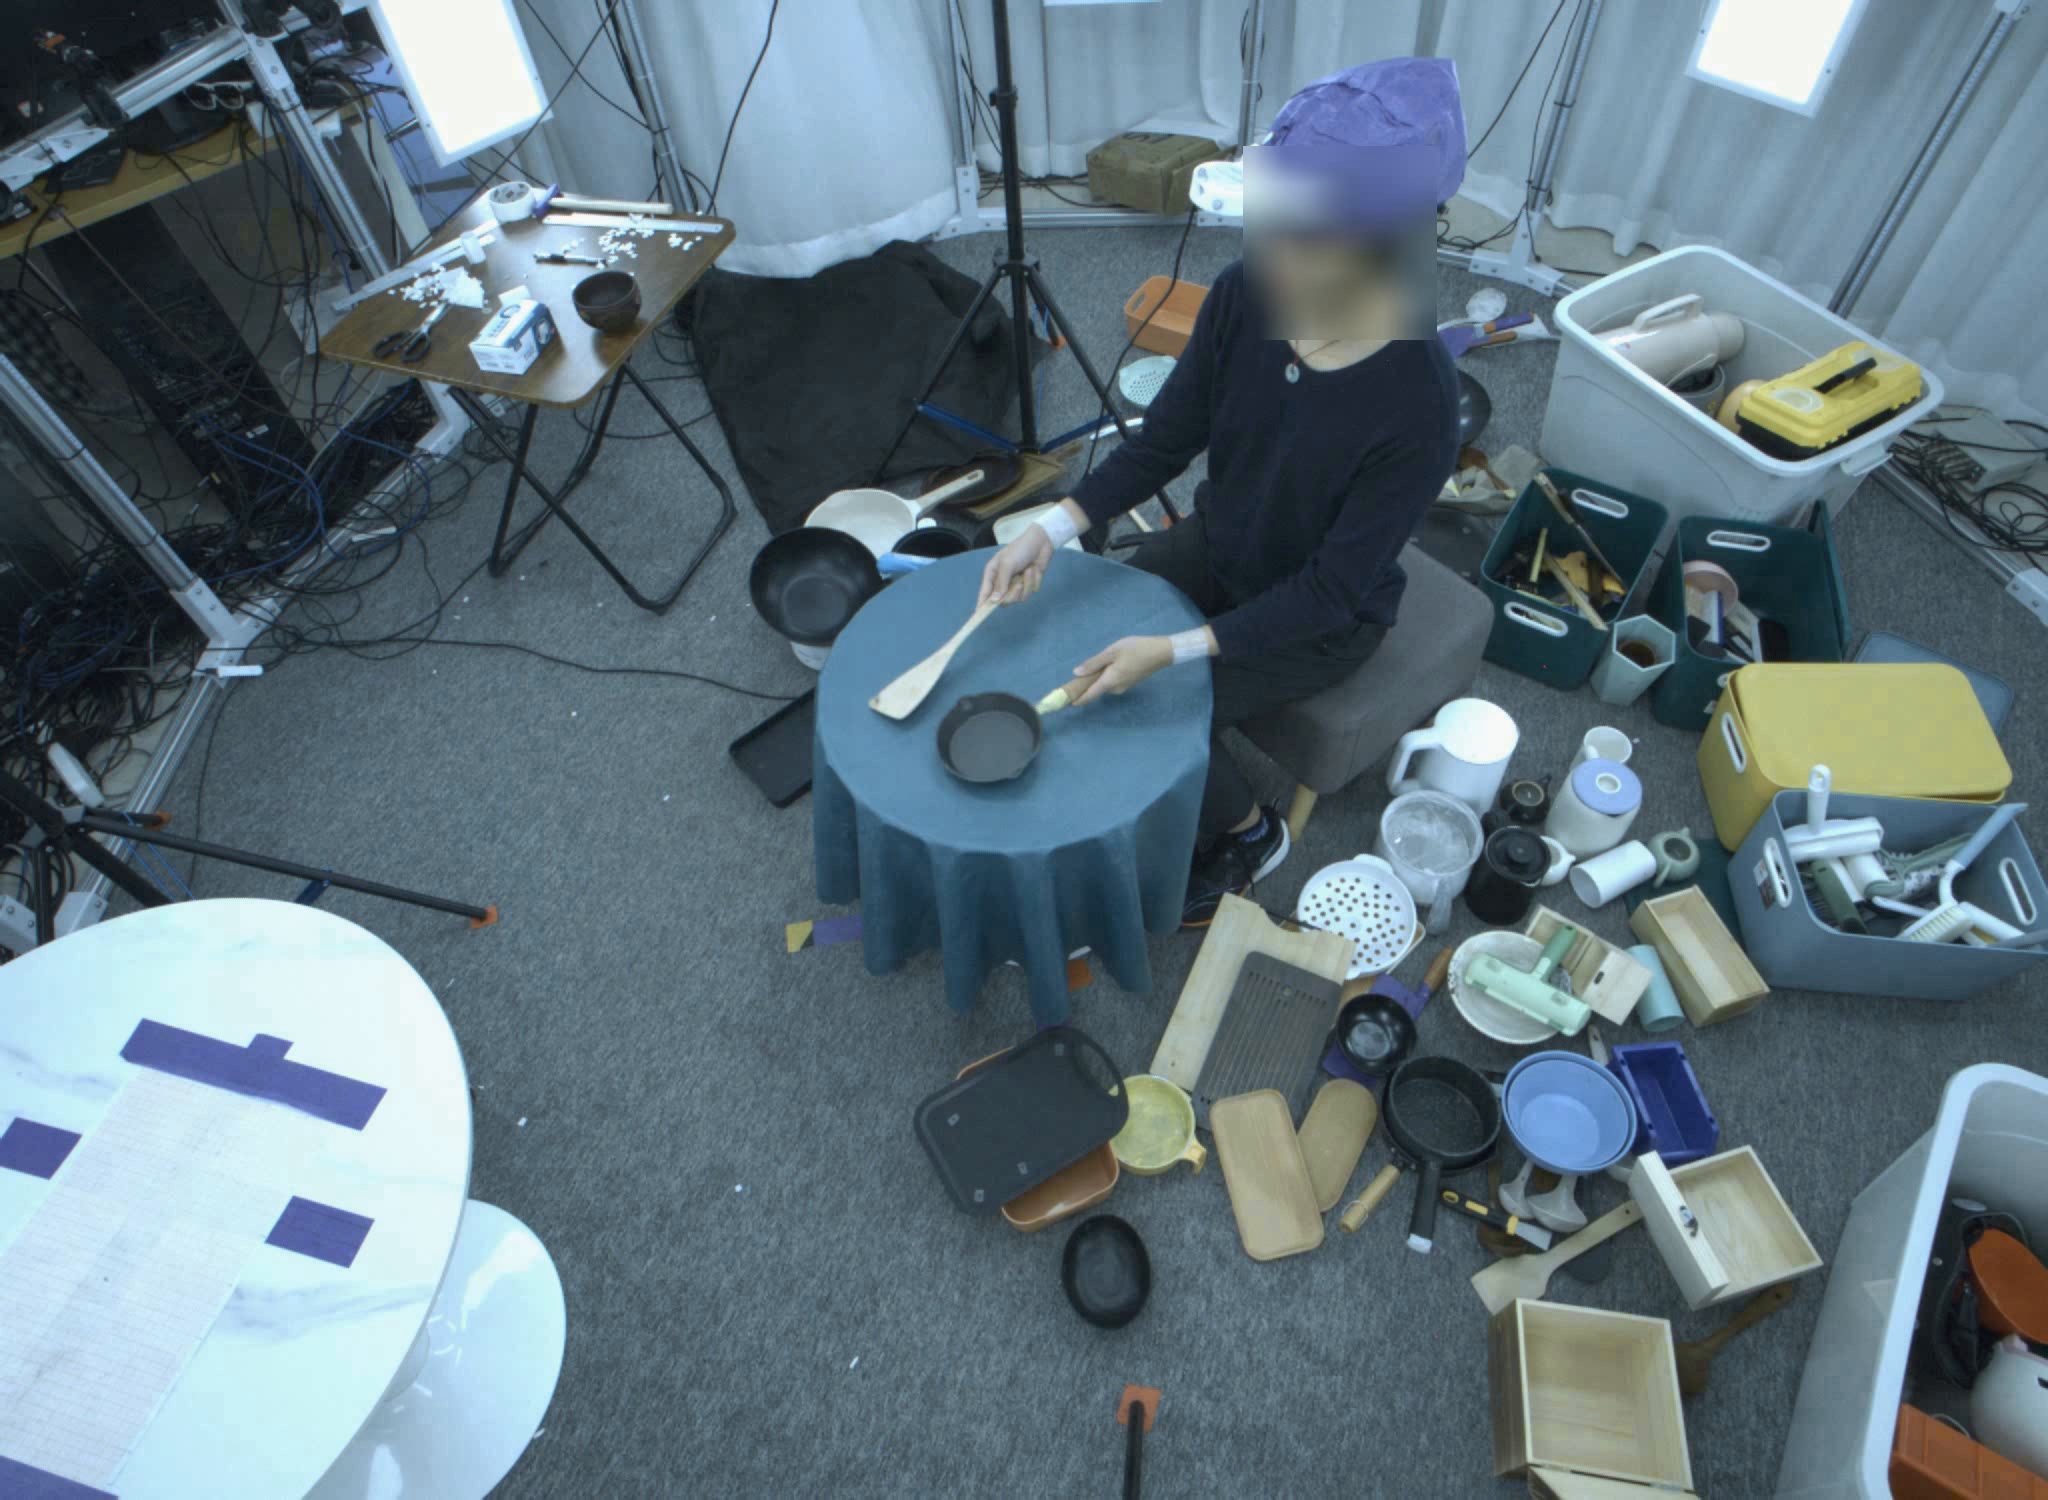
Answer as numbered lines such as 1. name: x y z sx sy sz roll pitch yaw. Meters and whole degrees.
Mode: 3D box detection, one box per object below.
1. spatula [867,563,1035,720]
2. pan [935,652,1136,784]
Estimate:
1. spatula: -0.102 -0.168 1.850 0.328 0.017 0.078 -46 54 -7
2. pan: 0.024 -0.056 1.780 0.326 0.050 0.166 -28 58 -9
